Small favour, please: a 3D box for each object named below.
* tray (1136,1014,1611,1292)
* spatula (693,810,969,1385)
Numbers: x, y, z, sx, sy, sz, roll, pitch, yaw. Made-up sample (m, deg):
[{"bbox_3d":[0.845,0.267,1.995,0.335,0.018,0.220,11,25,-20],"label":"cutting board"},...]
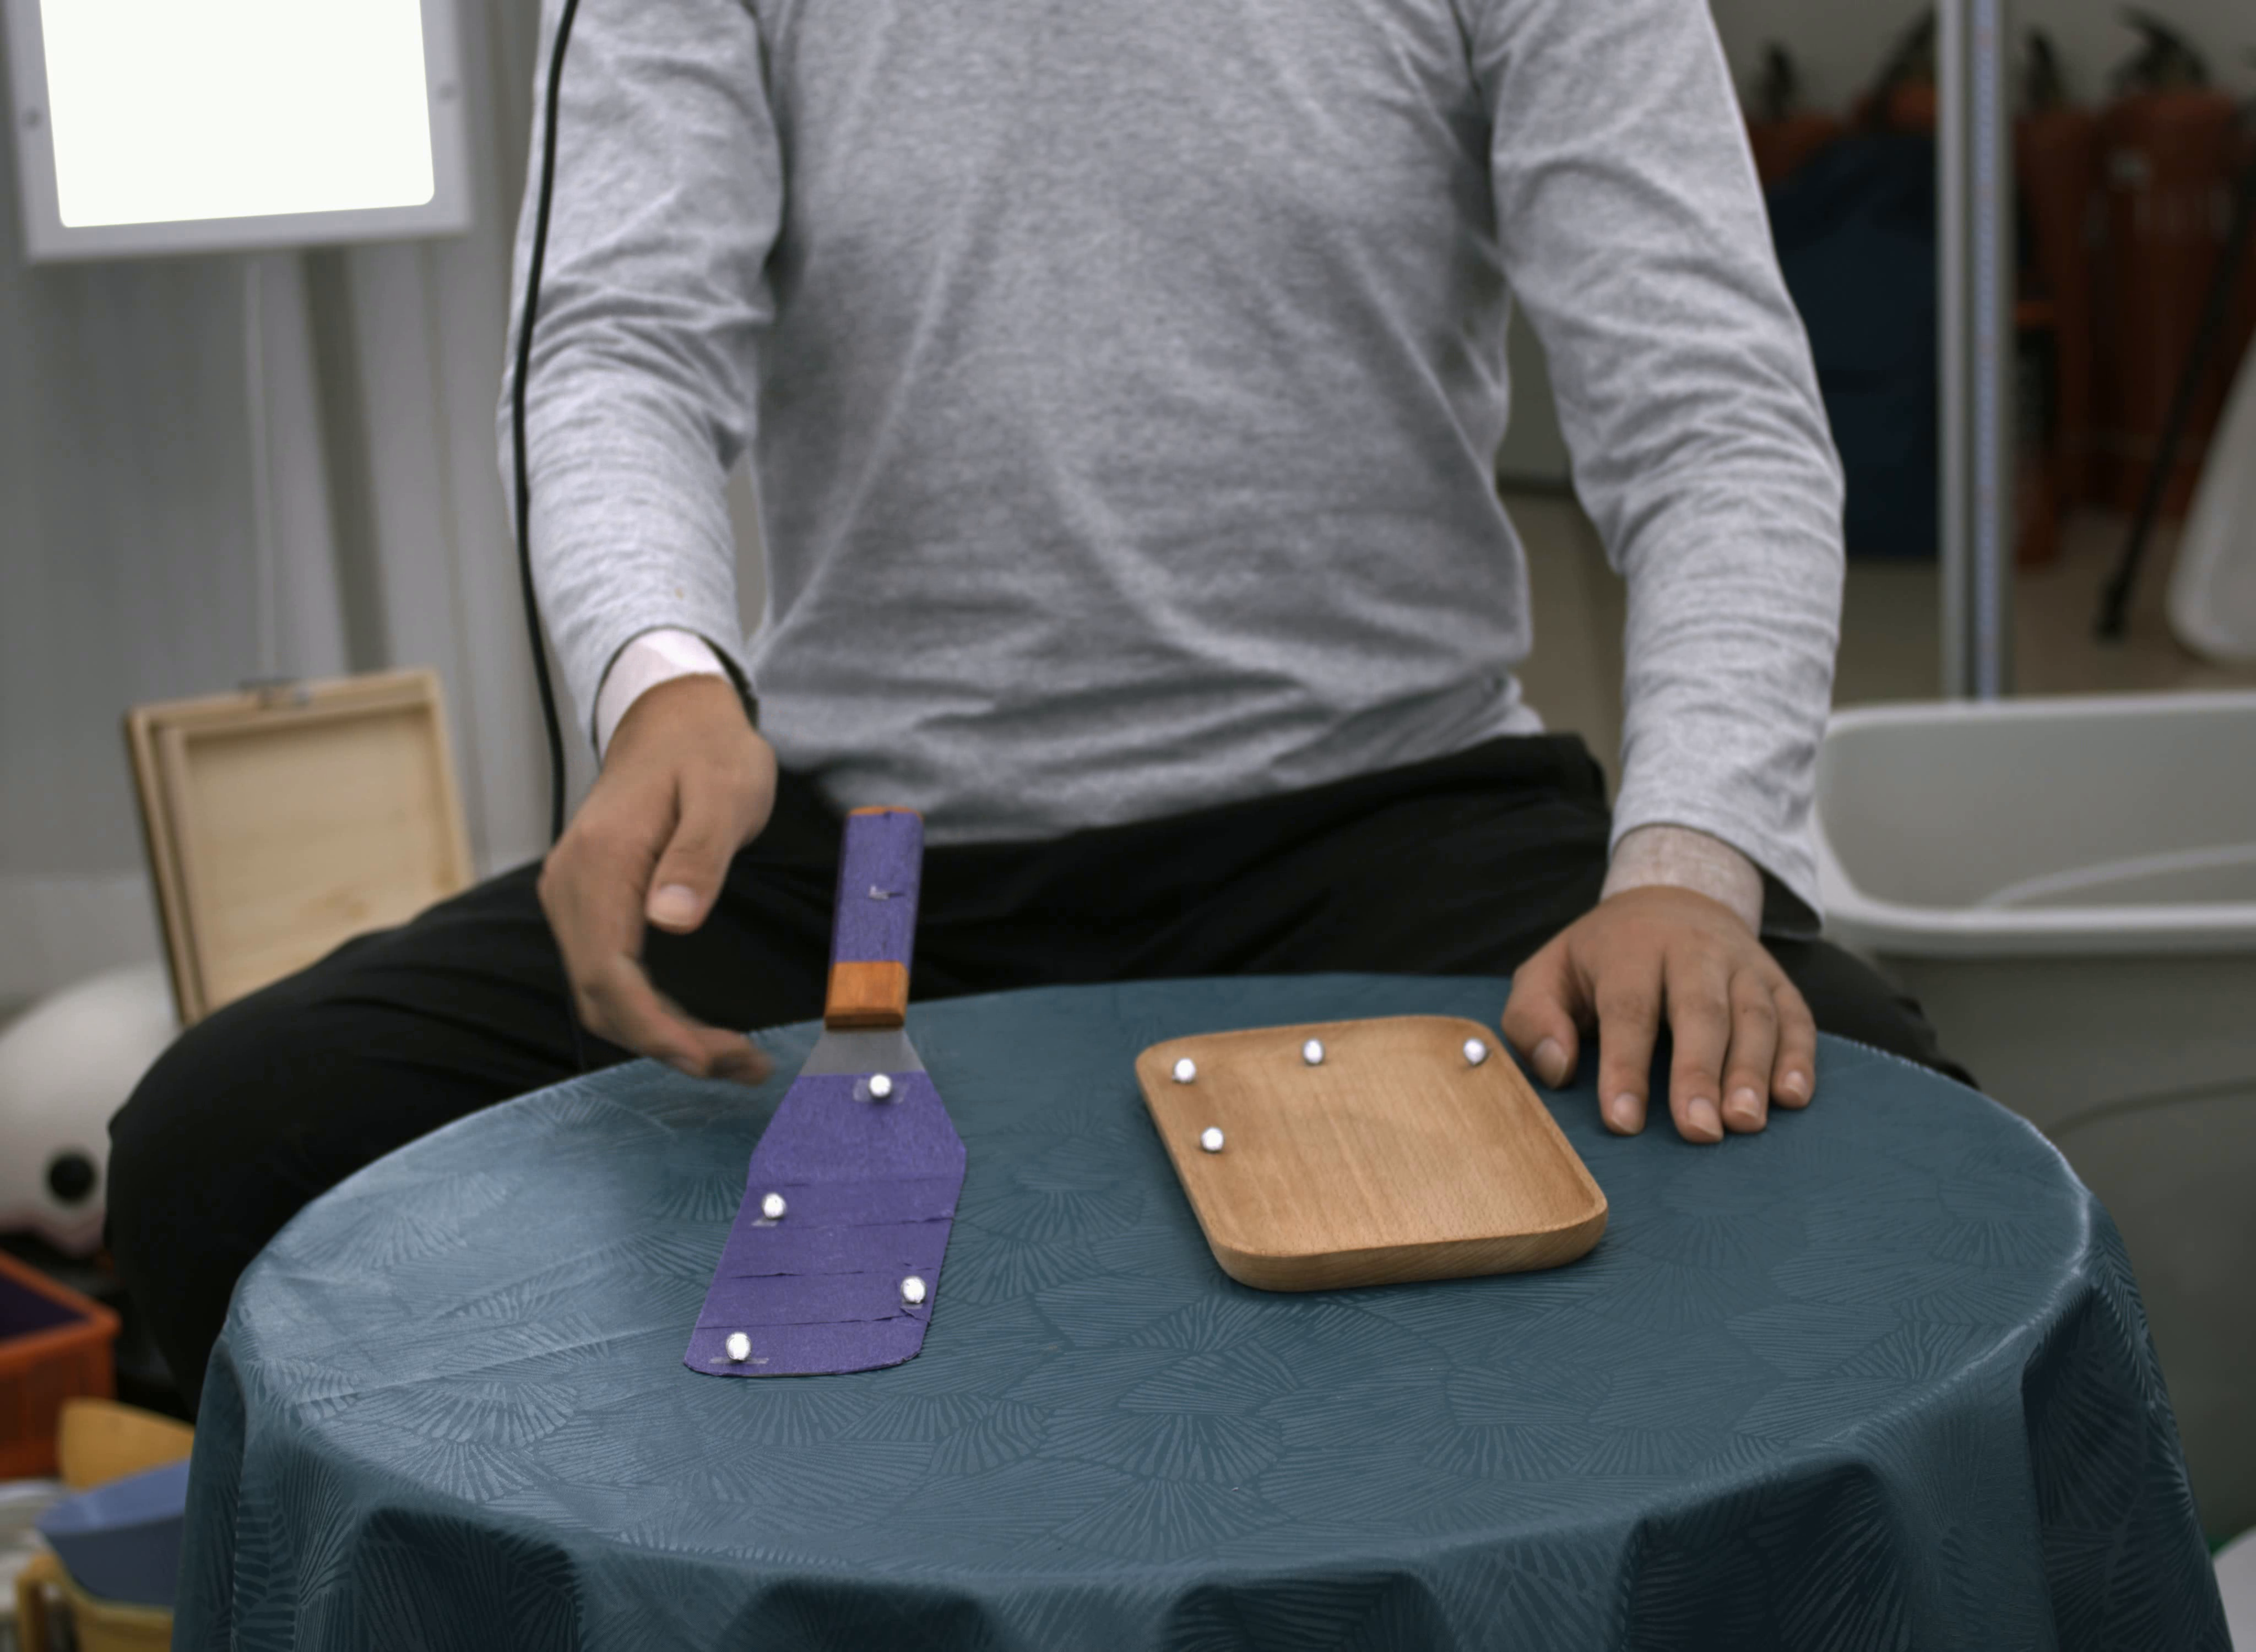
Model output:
[{"bbox_3d":[0.078,0.105,1.779,0.128,0.023,0.252,-9,15,-4],"label":"tray"},{"bbox_3d":[-0.092,0.085,1.783,0.074,0.087,0.361,-2,40,3],"label":"spatula"}]
